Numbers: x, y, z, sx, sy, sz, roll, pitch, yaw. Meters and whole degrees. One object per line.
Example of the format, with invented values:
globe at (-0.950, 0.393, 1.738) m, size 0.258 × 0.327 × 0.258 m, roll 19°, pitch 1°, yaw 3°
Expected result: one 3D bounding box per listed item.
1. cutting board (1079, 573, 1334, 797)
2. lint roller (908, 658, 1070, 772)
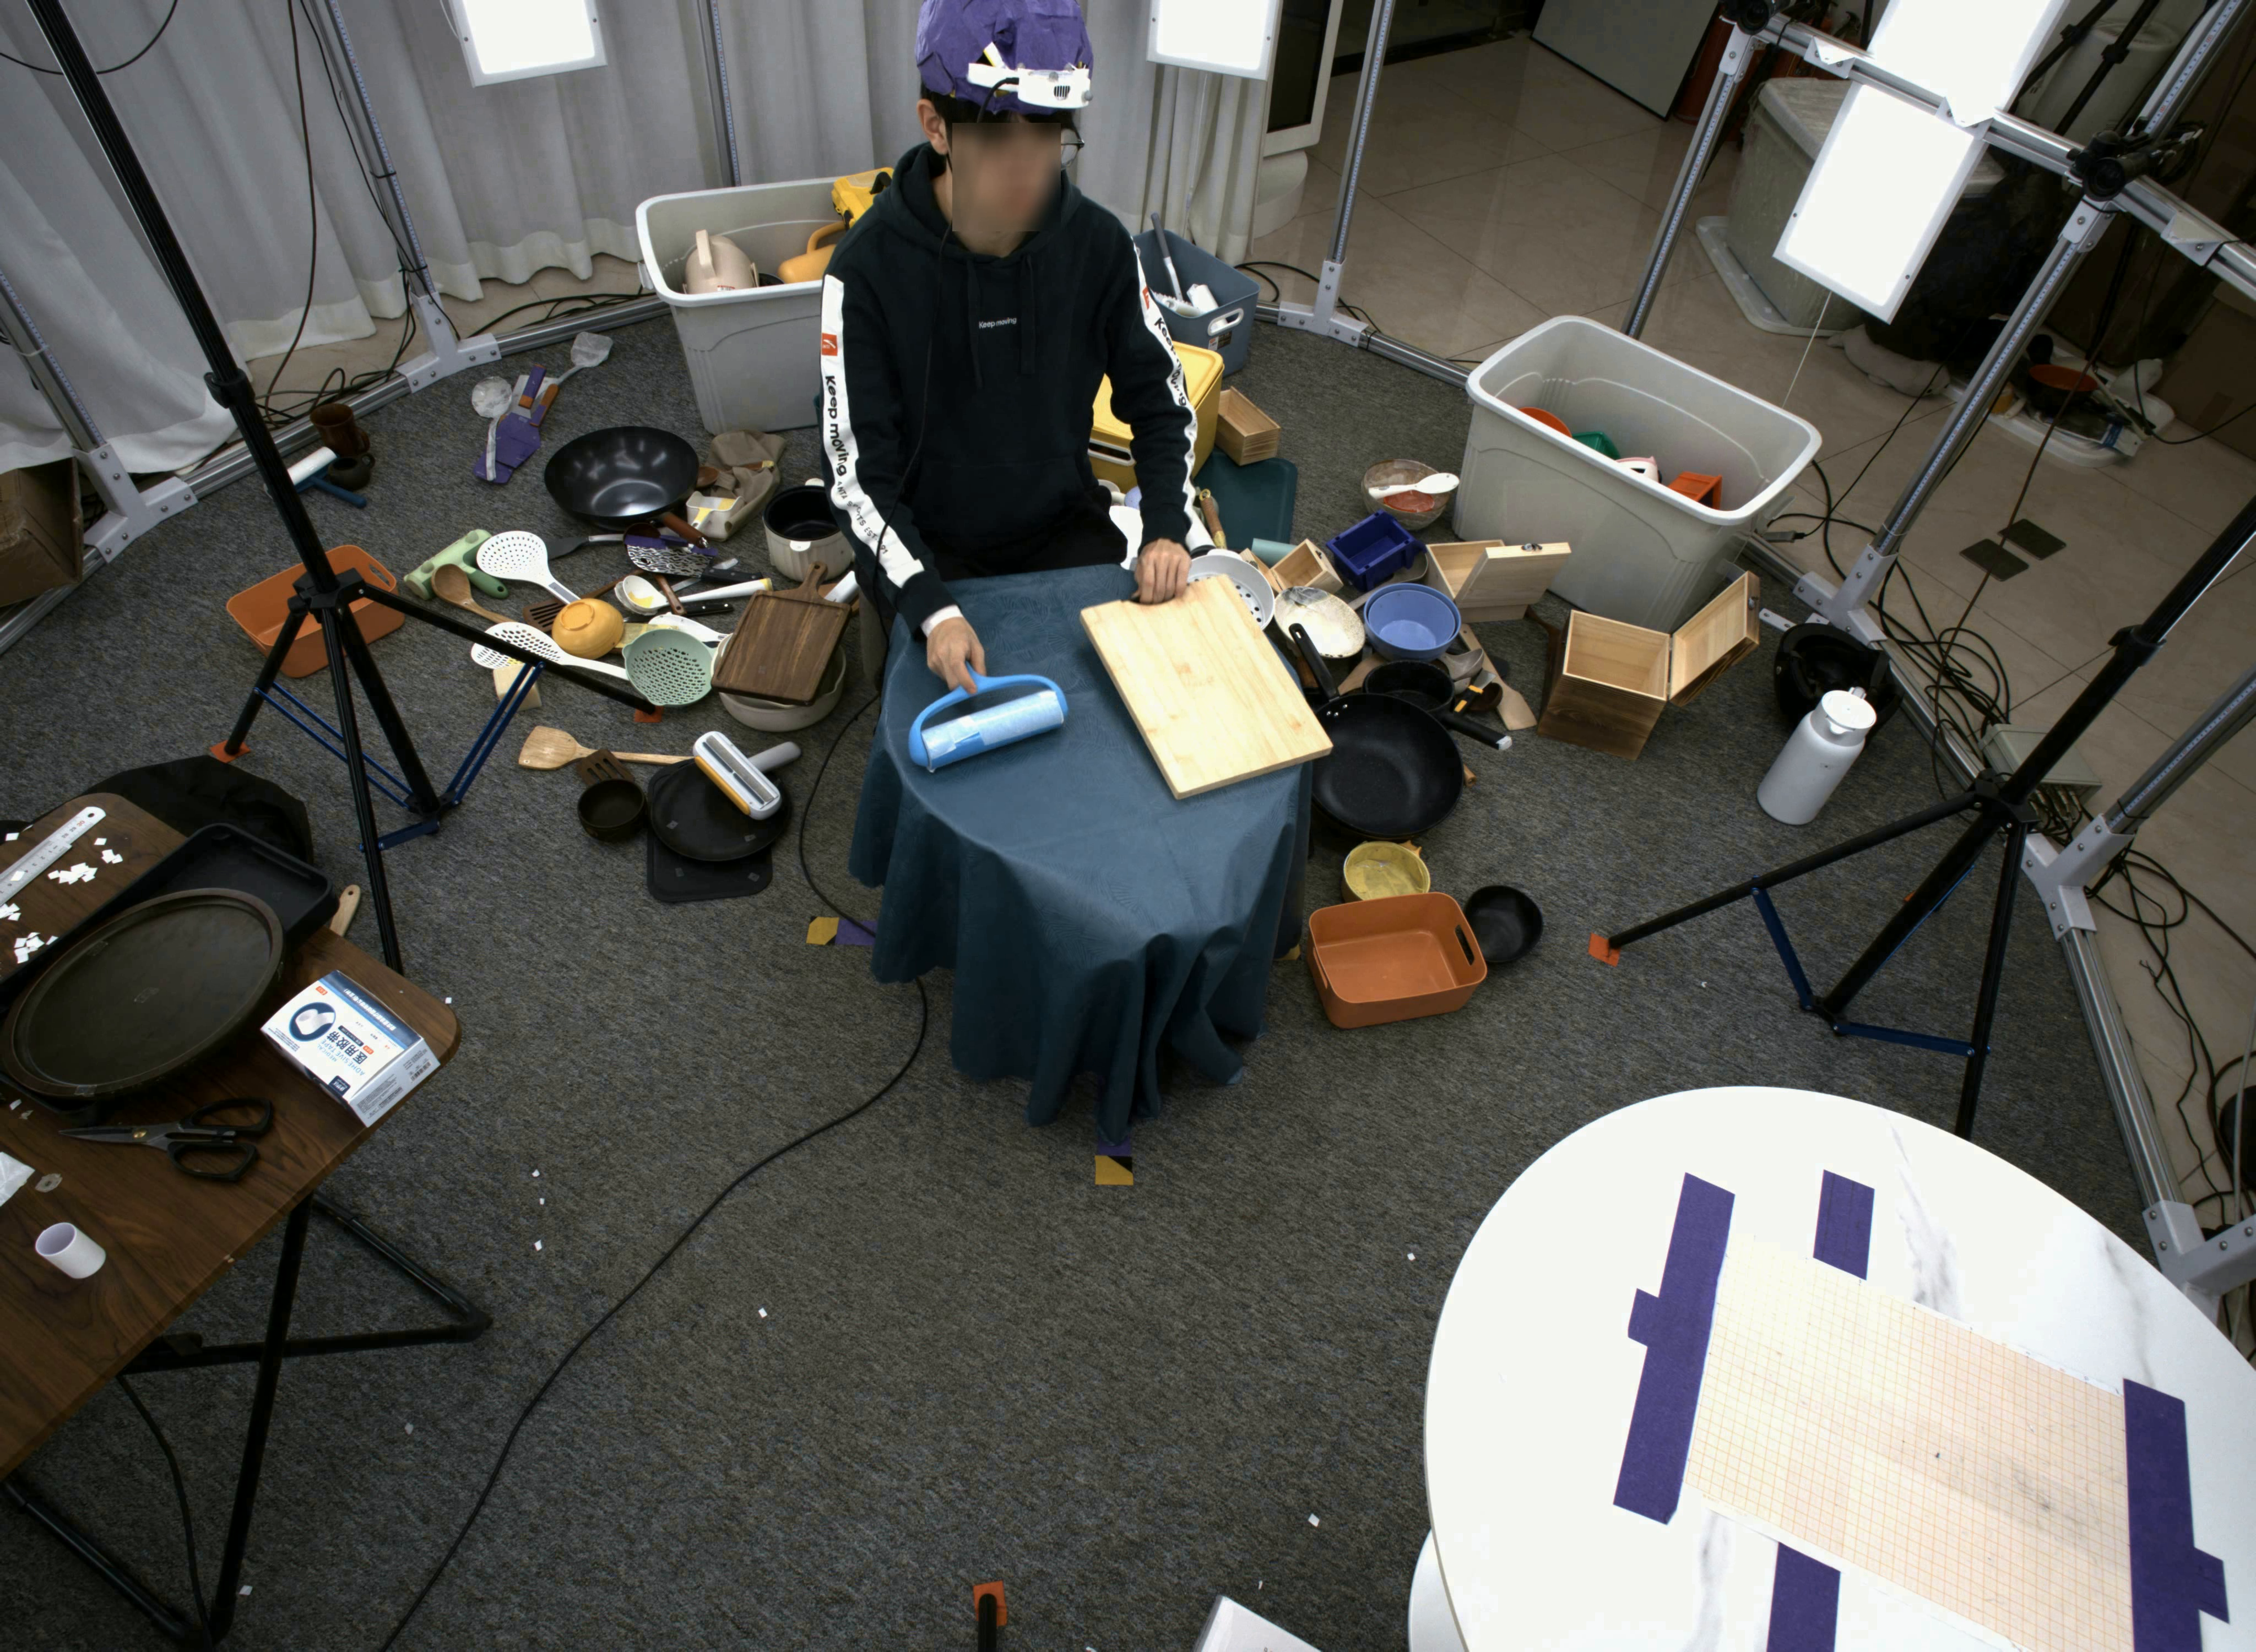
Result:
cutting board at (0.106, -0.207, 1.820) m, size 0.251 × 0.023 × 0.356 m, roll -17°, pitch 58°, yaw -18°
lint roller at (-0.212, -0.175, 1.757) m, size 0.229 × 0.066 × 0.183 m, roll -22°, pitch 63°, yaw -18°
